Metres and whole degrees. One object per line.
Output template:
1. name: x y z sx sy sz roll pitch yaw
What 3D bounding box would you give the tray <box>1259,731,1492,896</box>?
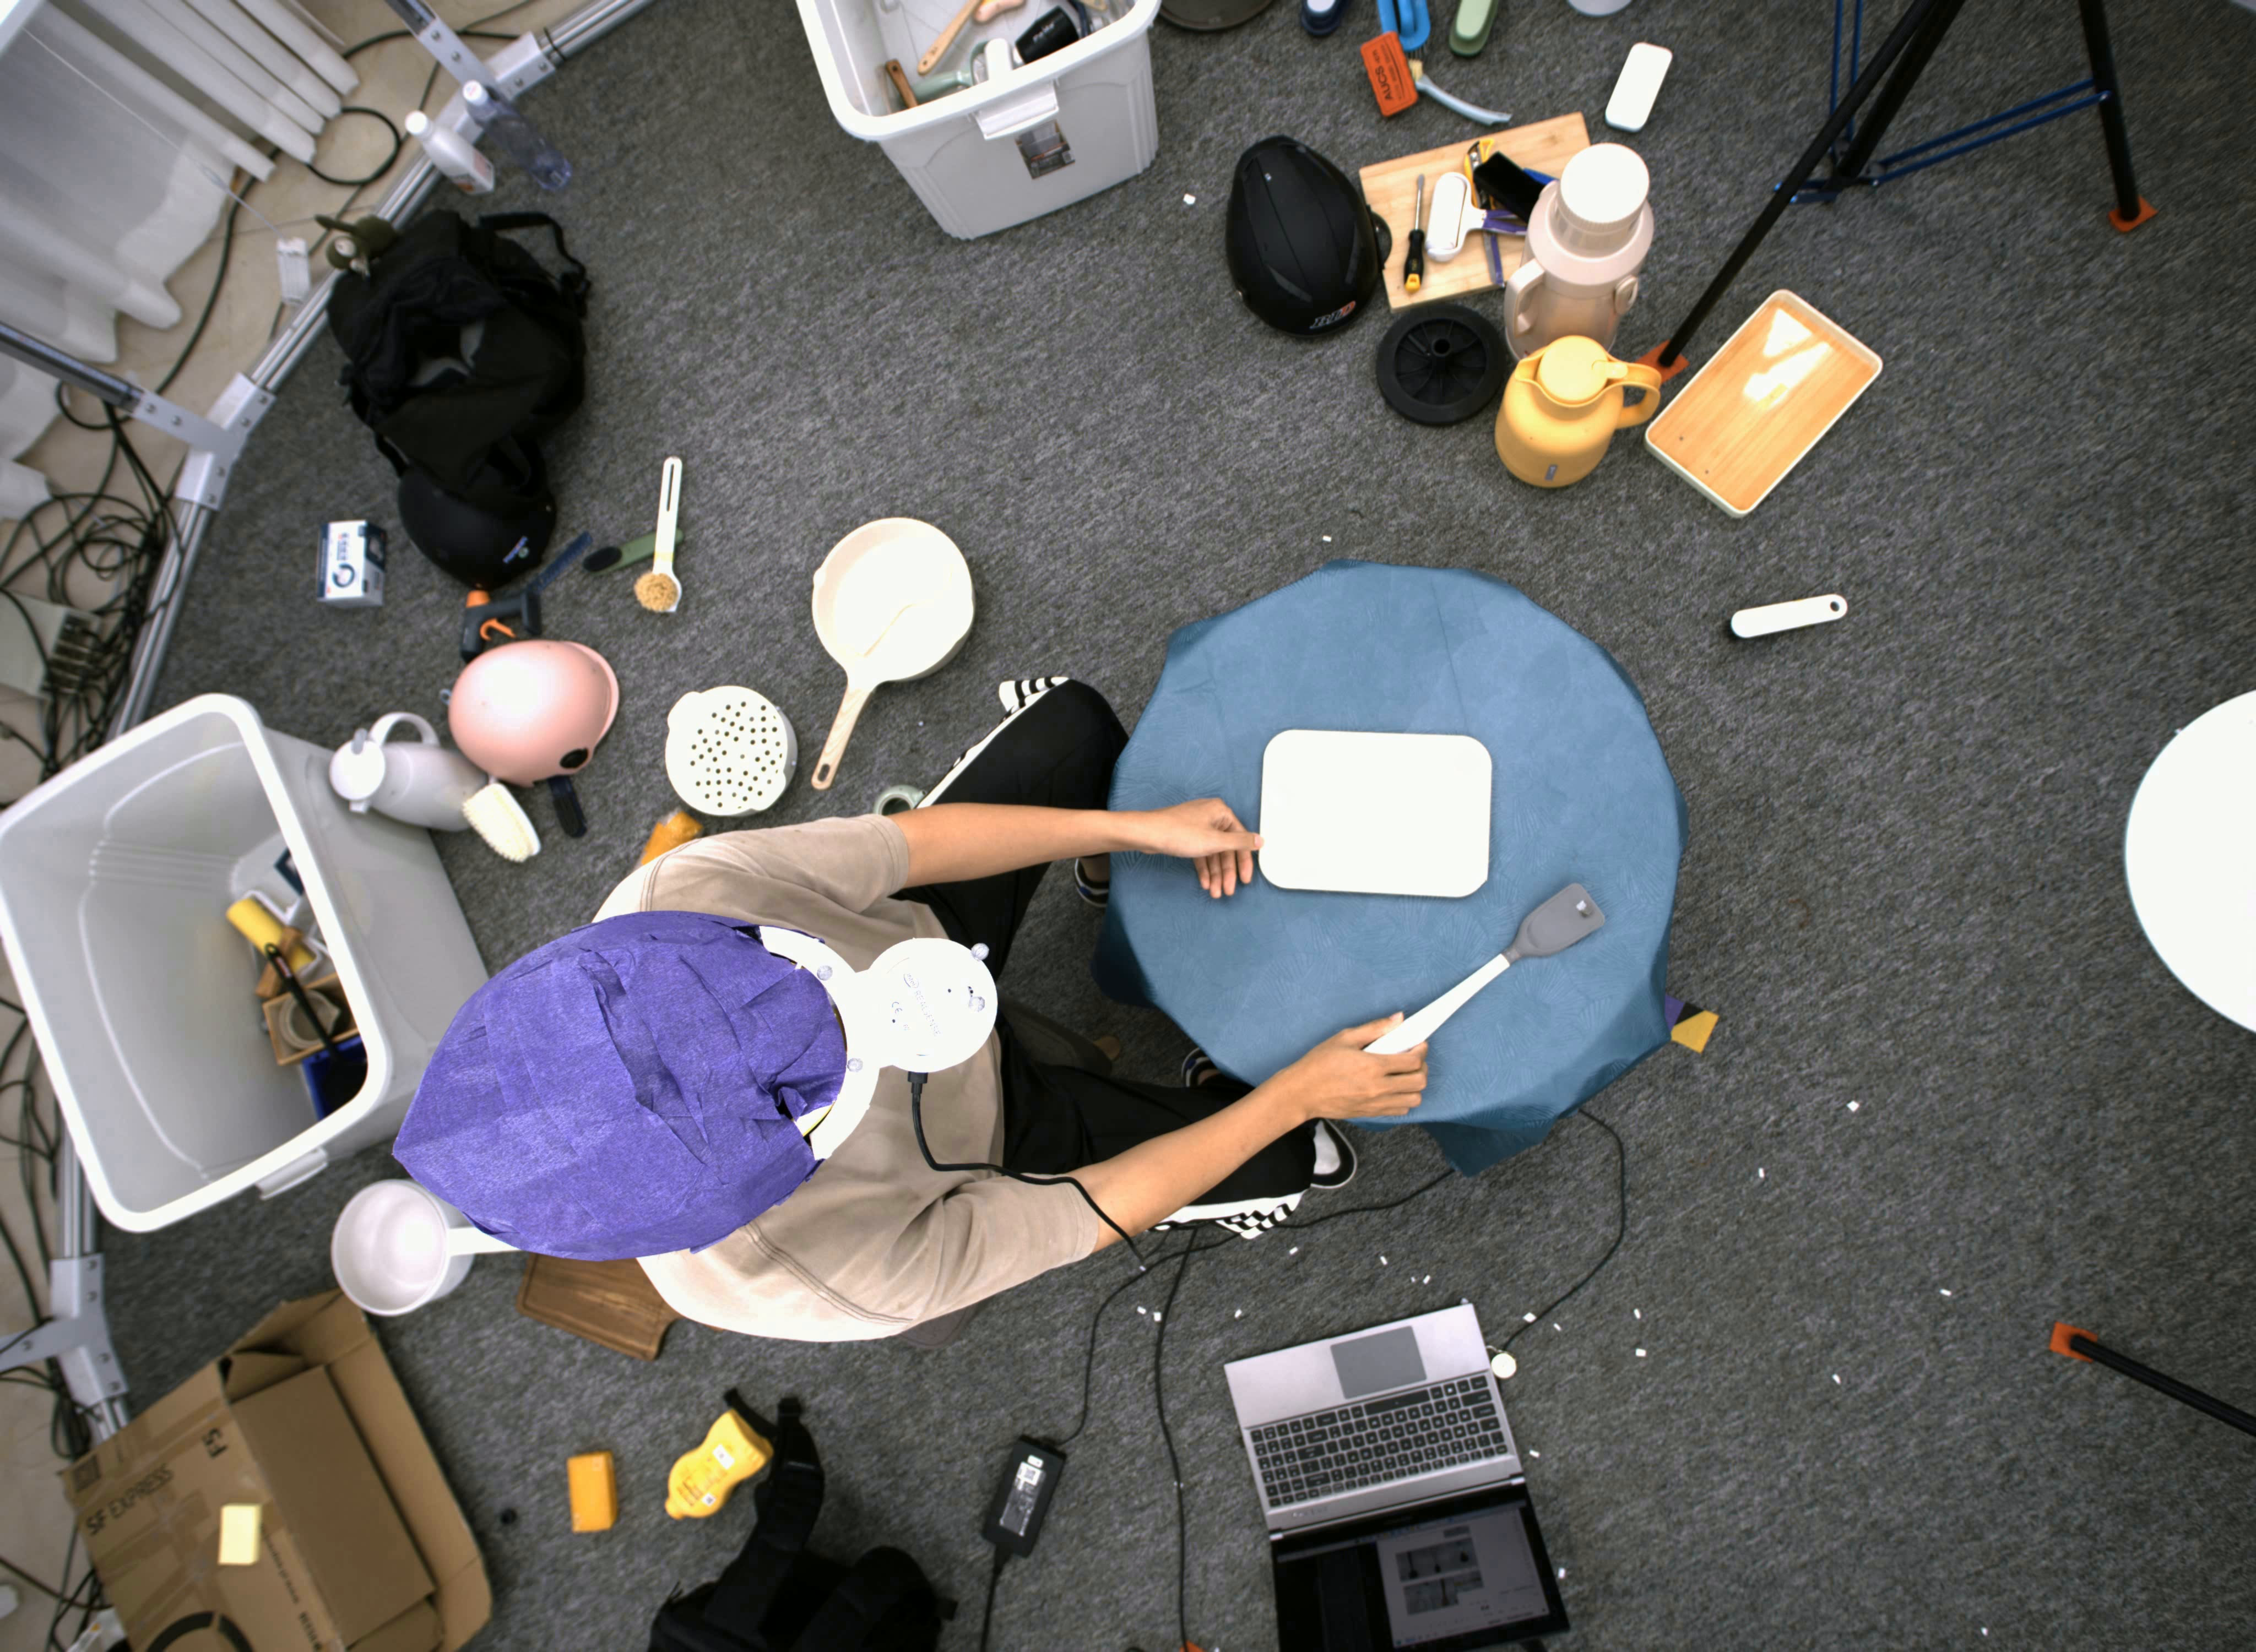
1. tray: 0.261 -0.015 1.459 0.240 0.017 0.170 3 86 11

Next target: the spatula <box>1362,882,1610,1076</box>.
1. spatula: 0.365 0.158 1.419 0.288 0.032 0.058 -37 83 4
